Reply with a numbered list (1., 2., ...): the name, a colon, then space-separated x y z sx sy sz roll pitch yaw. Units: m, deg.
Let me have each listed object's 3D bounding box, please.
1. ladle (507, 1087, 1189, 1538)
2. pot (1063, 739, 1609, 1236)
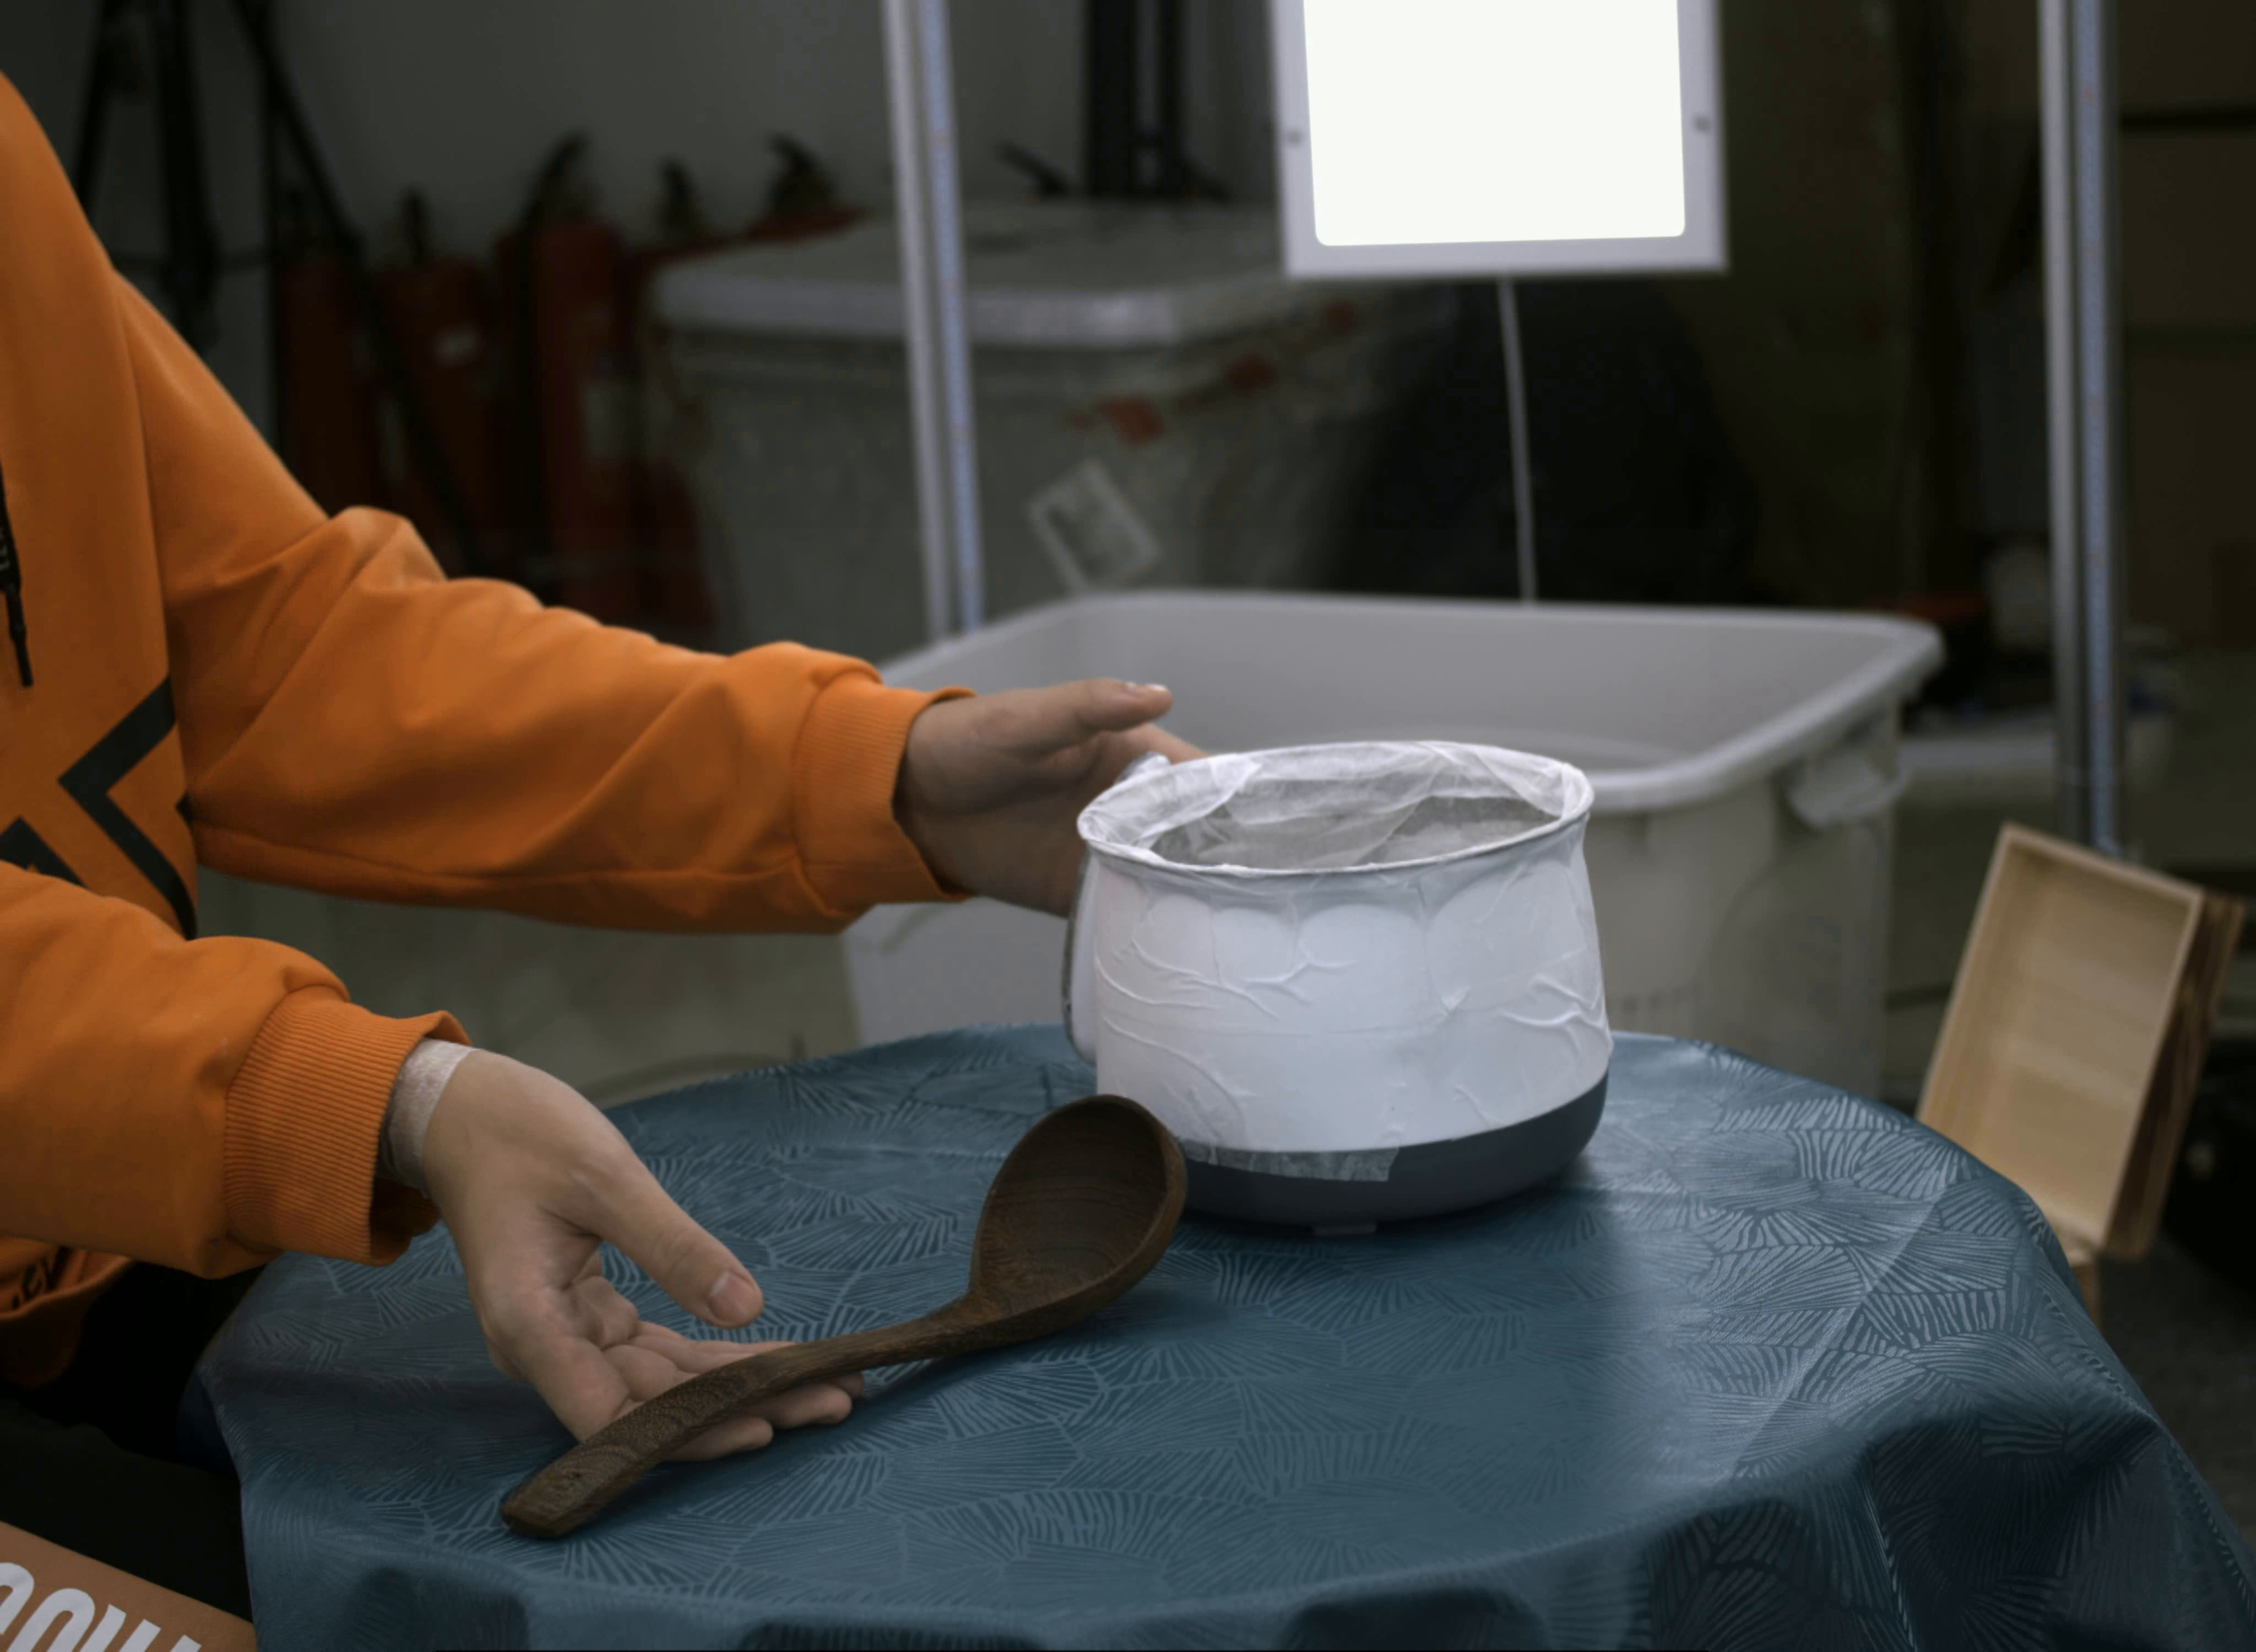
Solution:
1. ladle: -0.086 0.146 1.704 0.078 0.071 0.267 5 16 45
2. pot: 0.057 0.049 1.901 0.174 0.137 0.238 -15 17 -37
